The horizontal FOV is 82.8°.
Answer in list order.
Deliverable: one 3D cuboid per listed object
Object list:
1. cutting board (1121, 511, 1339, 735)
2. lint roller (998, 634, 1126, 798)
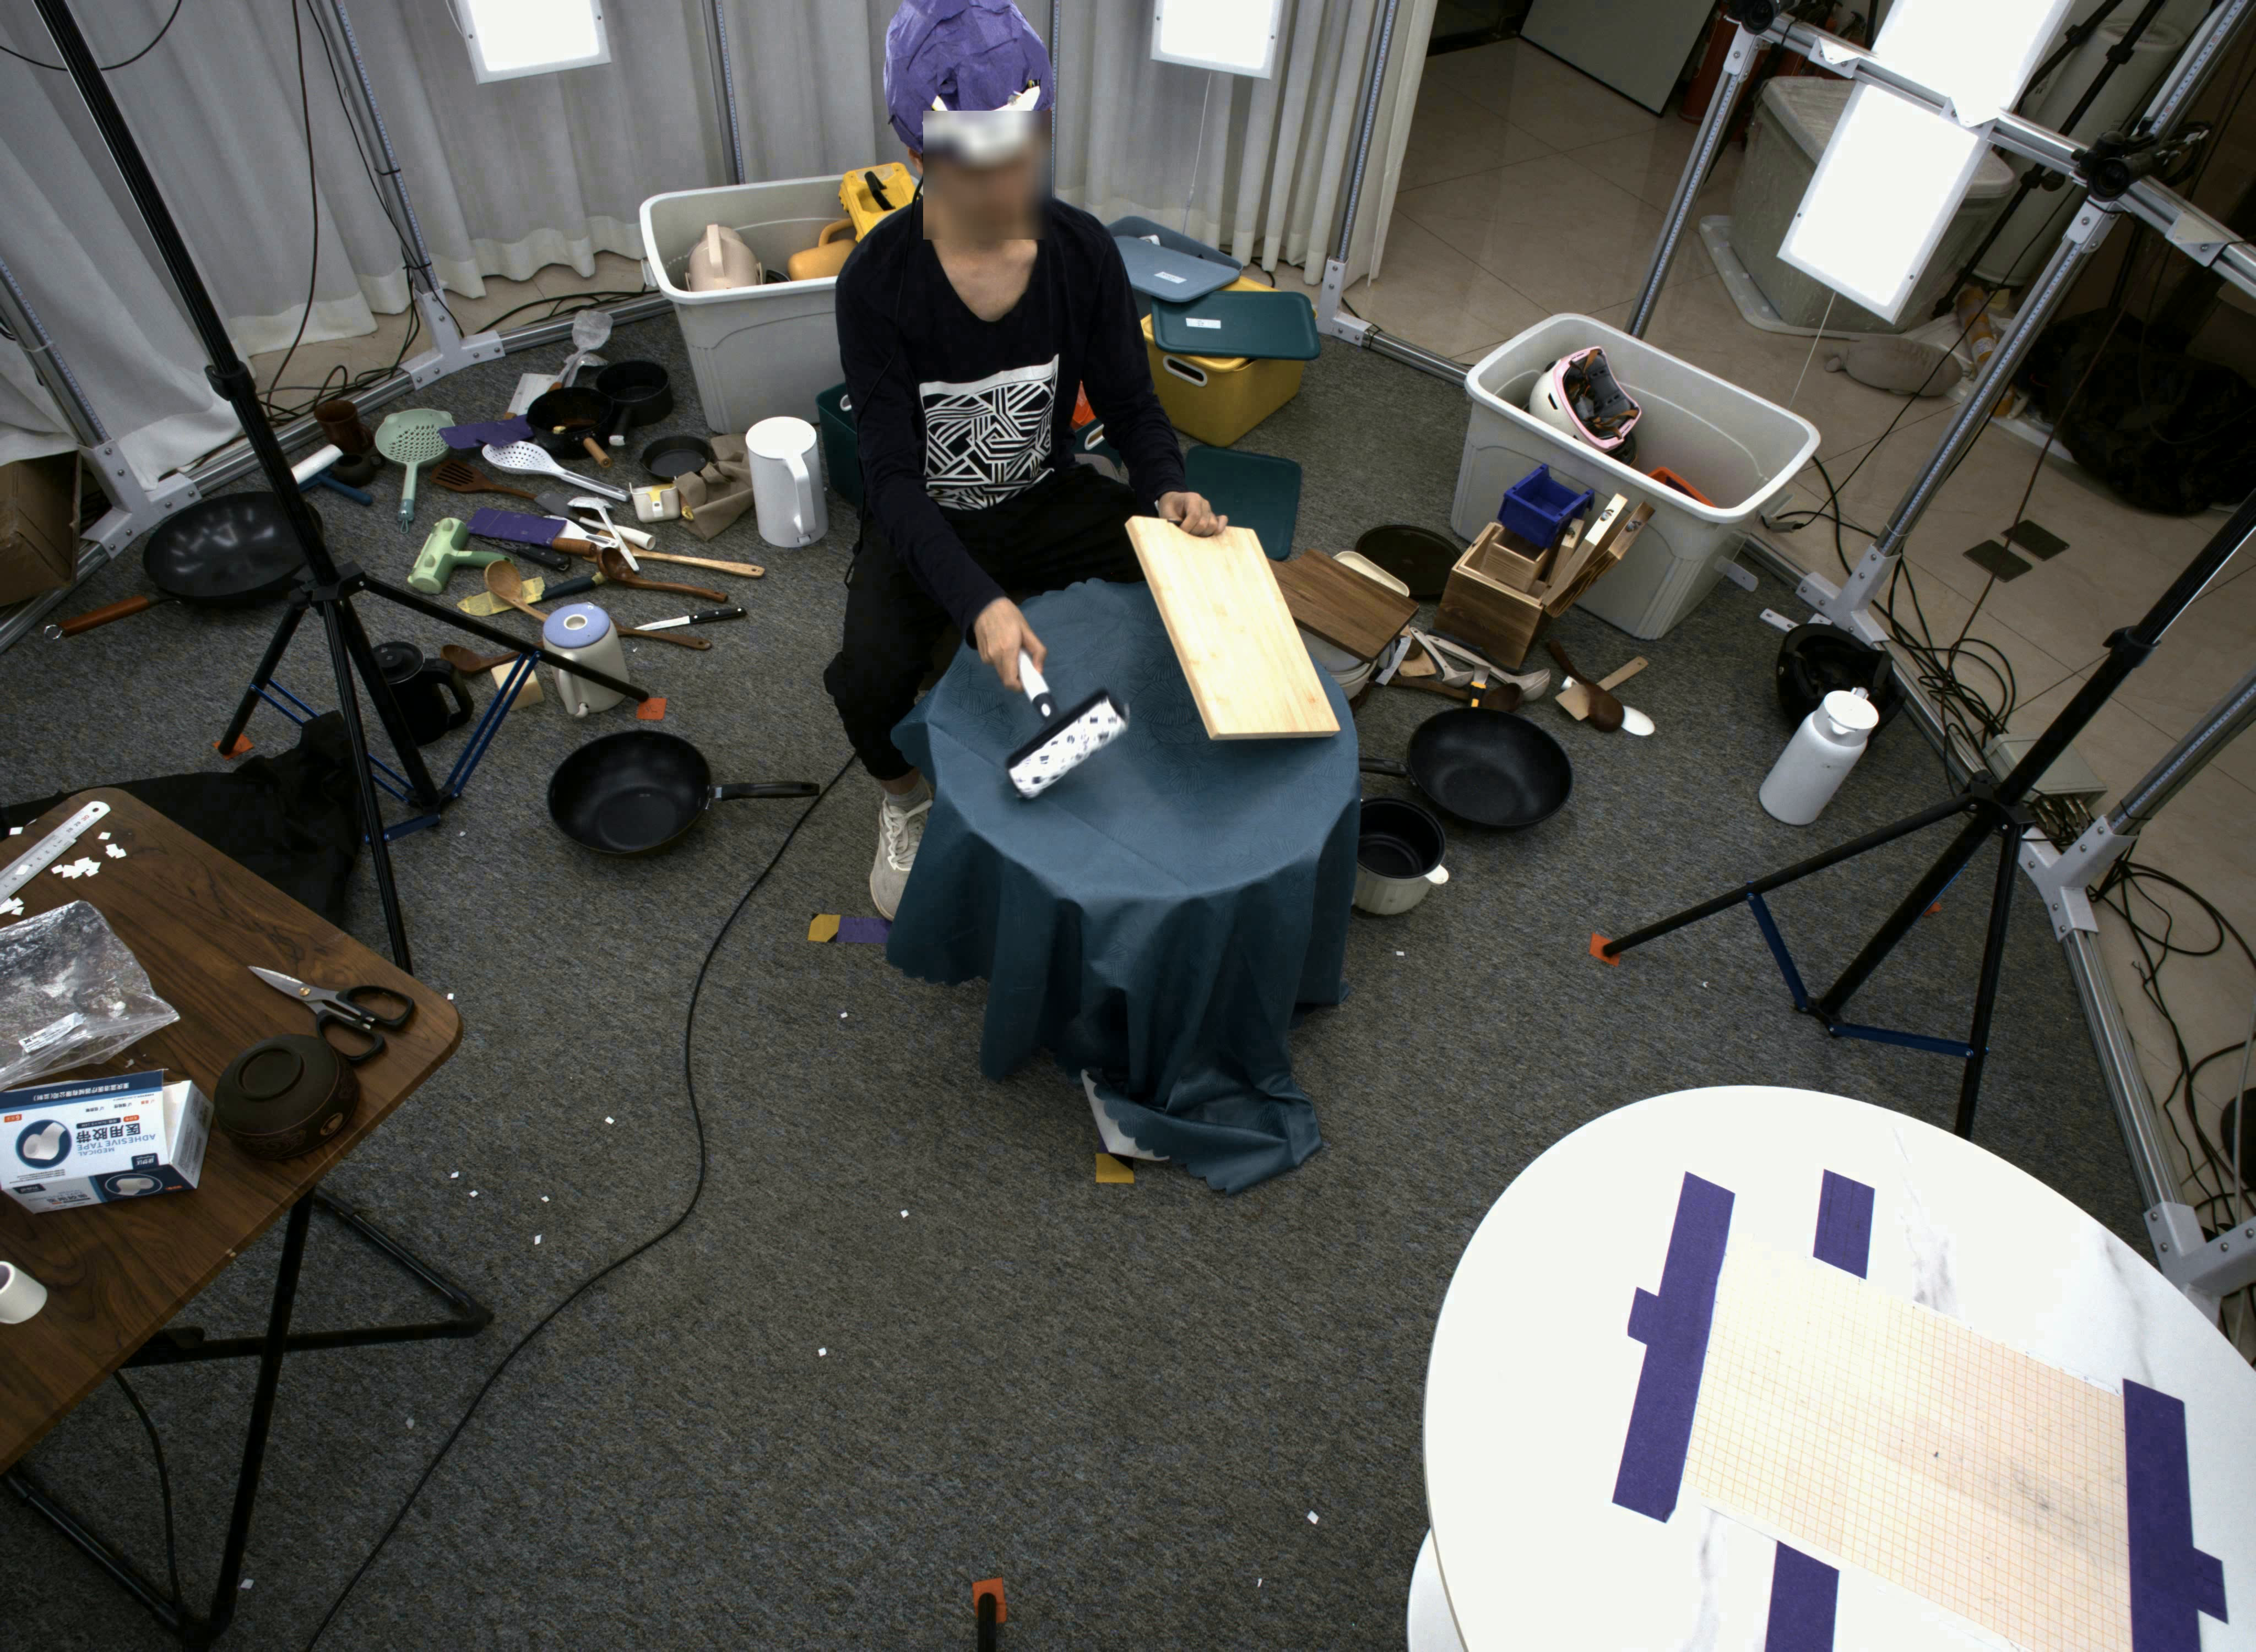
[{"bbox_3d":[0.142,-0.278,1.775,0.250,0.023,0.354,-5,66,-40],"label":"cutting board"},{"bbox_3d":[-0.124,-0.172,1.724,0.176,0.049,0.252,-33,57,6],"label":"lint roller"}]
